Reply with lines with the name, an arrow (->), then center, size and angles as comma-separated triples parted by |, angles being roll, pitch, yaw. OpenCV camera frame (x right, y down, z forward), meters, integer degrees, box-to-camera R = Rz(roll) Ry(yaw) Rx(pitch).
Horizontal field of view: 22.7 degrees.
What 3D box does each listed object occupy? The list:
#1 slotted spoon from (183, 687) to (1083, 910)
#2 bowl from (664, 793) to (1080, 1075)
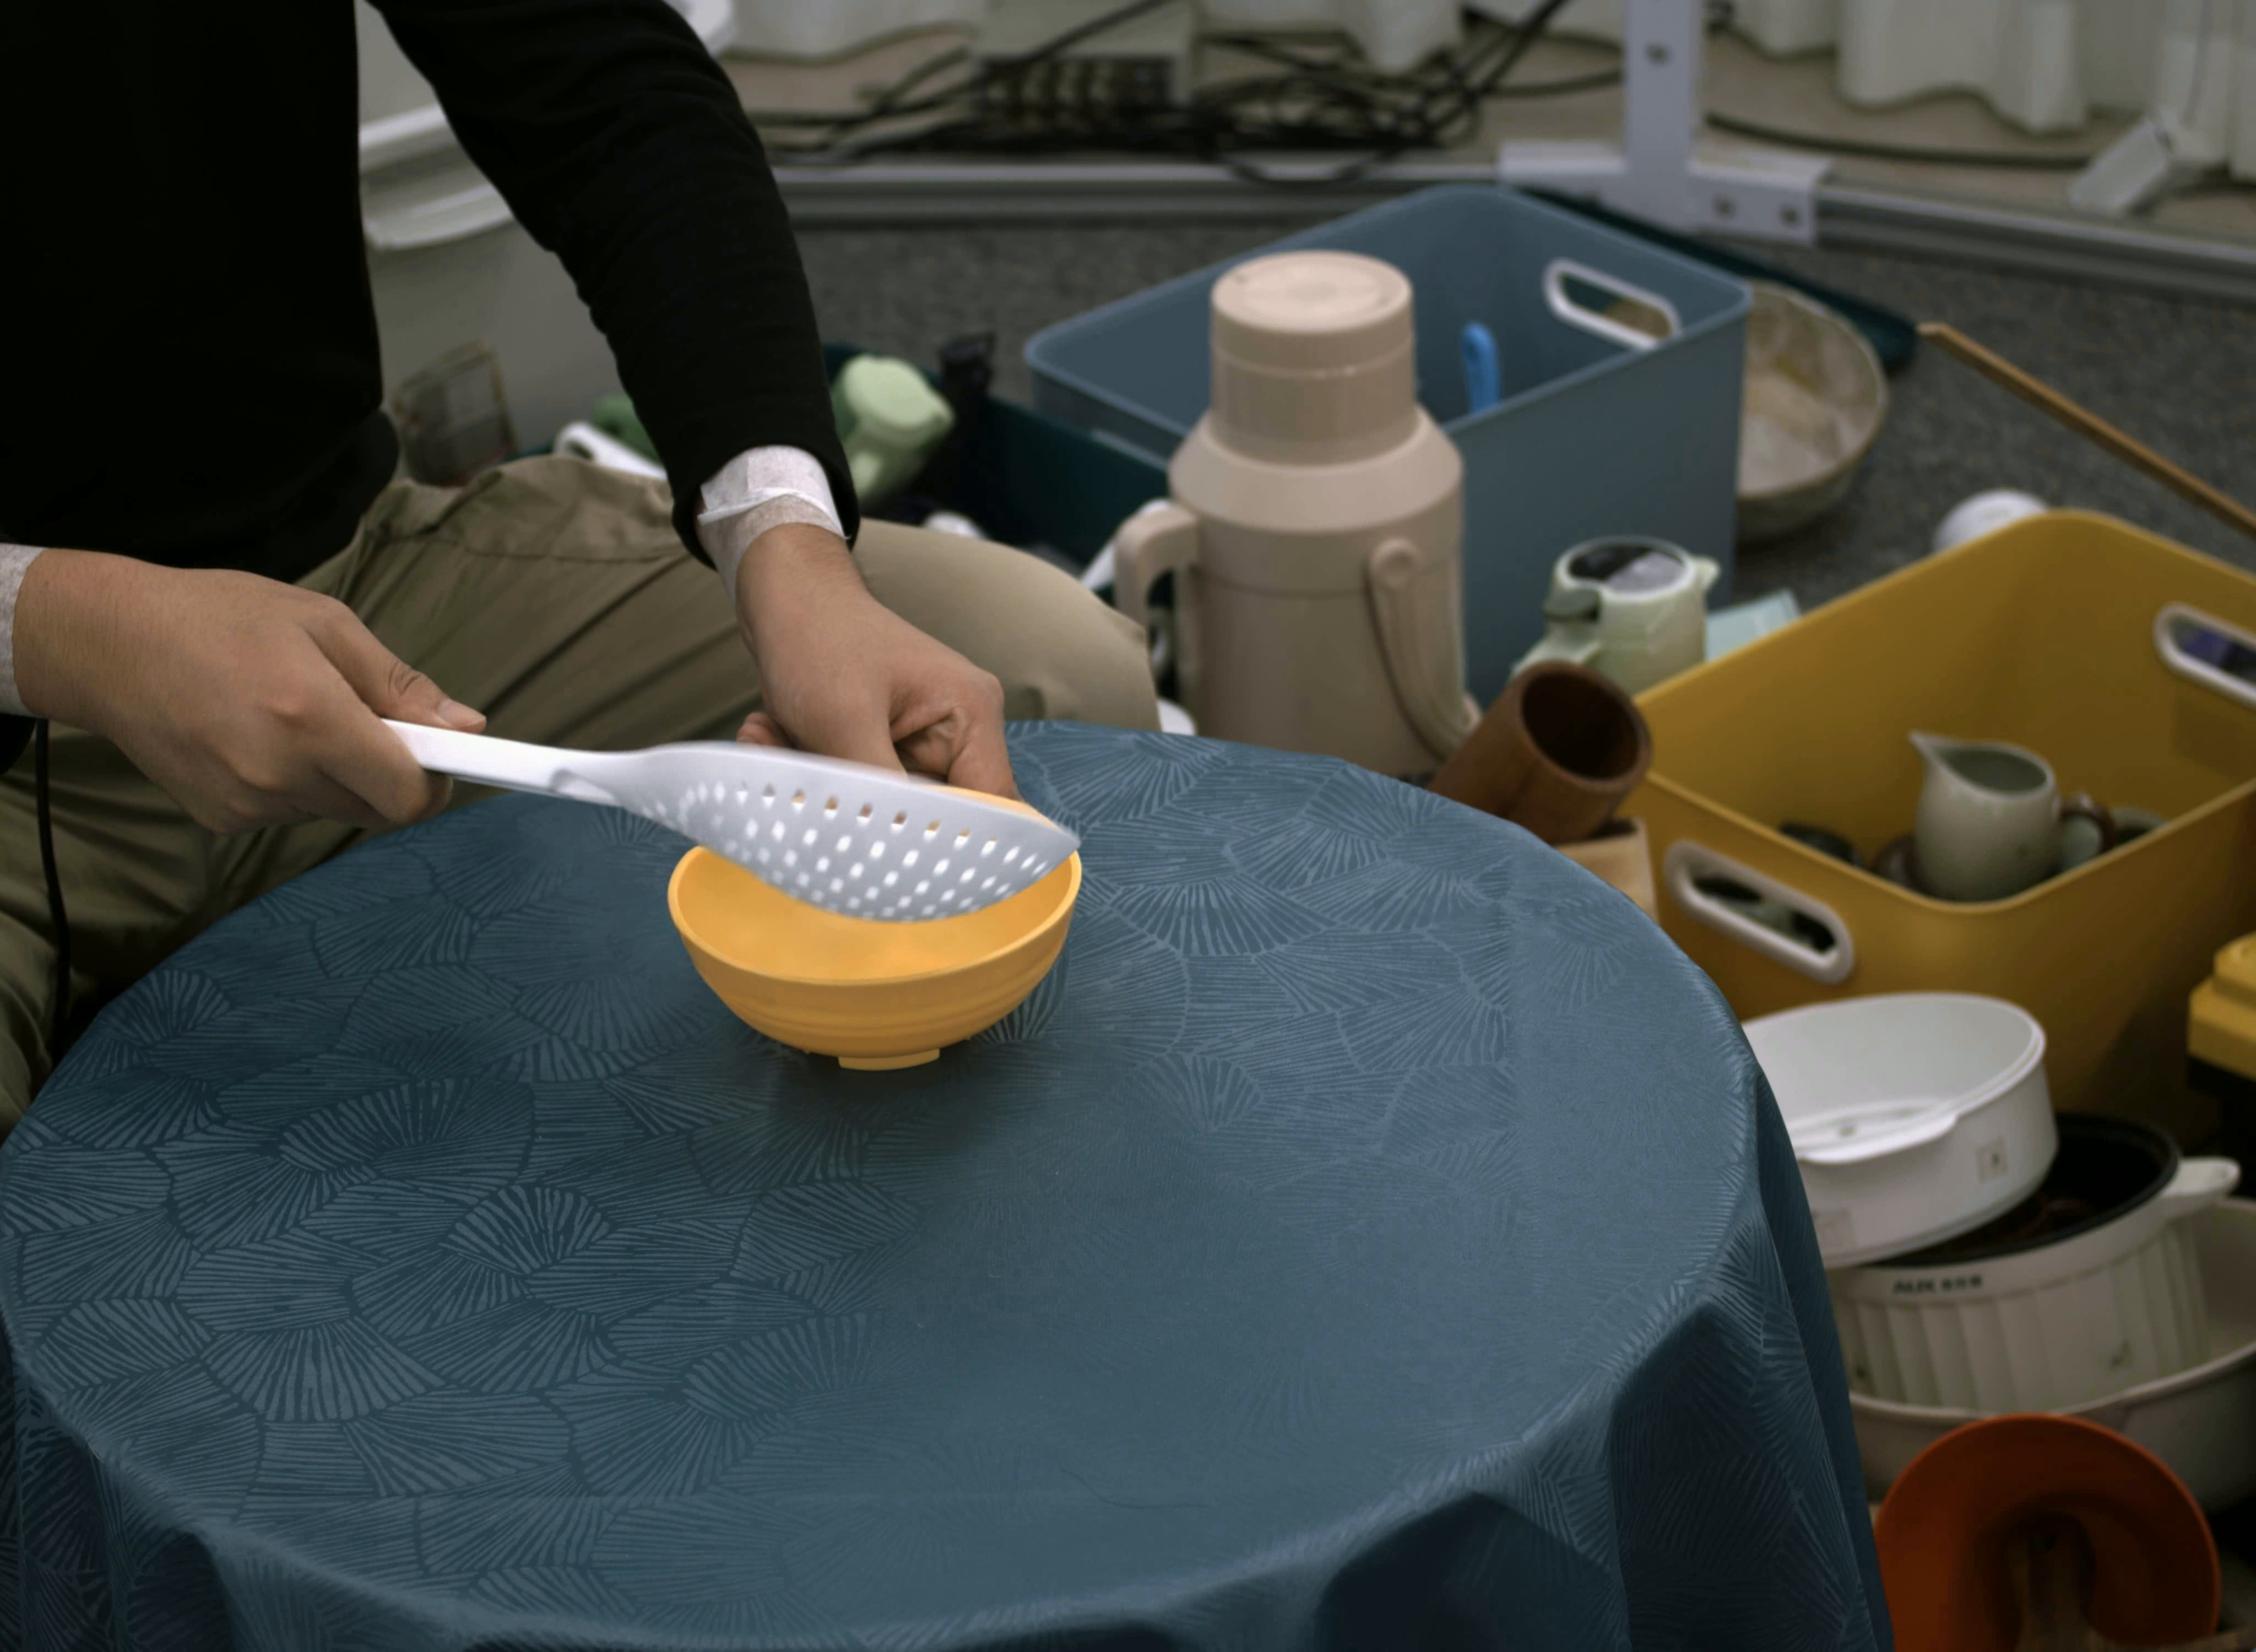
slotted spoon -> -0.174, -0.019, 1.872 | 0.348, 0.046, 0.135 | 13, -8, 31
bowl -> -0.088, 0.045, 1.958 | 0.144, 0.059, 0.147 | 0, 28, 1
